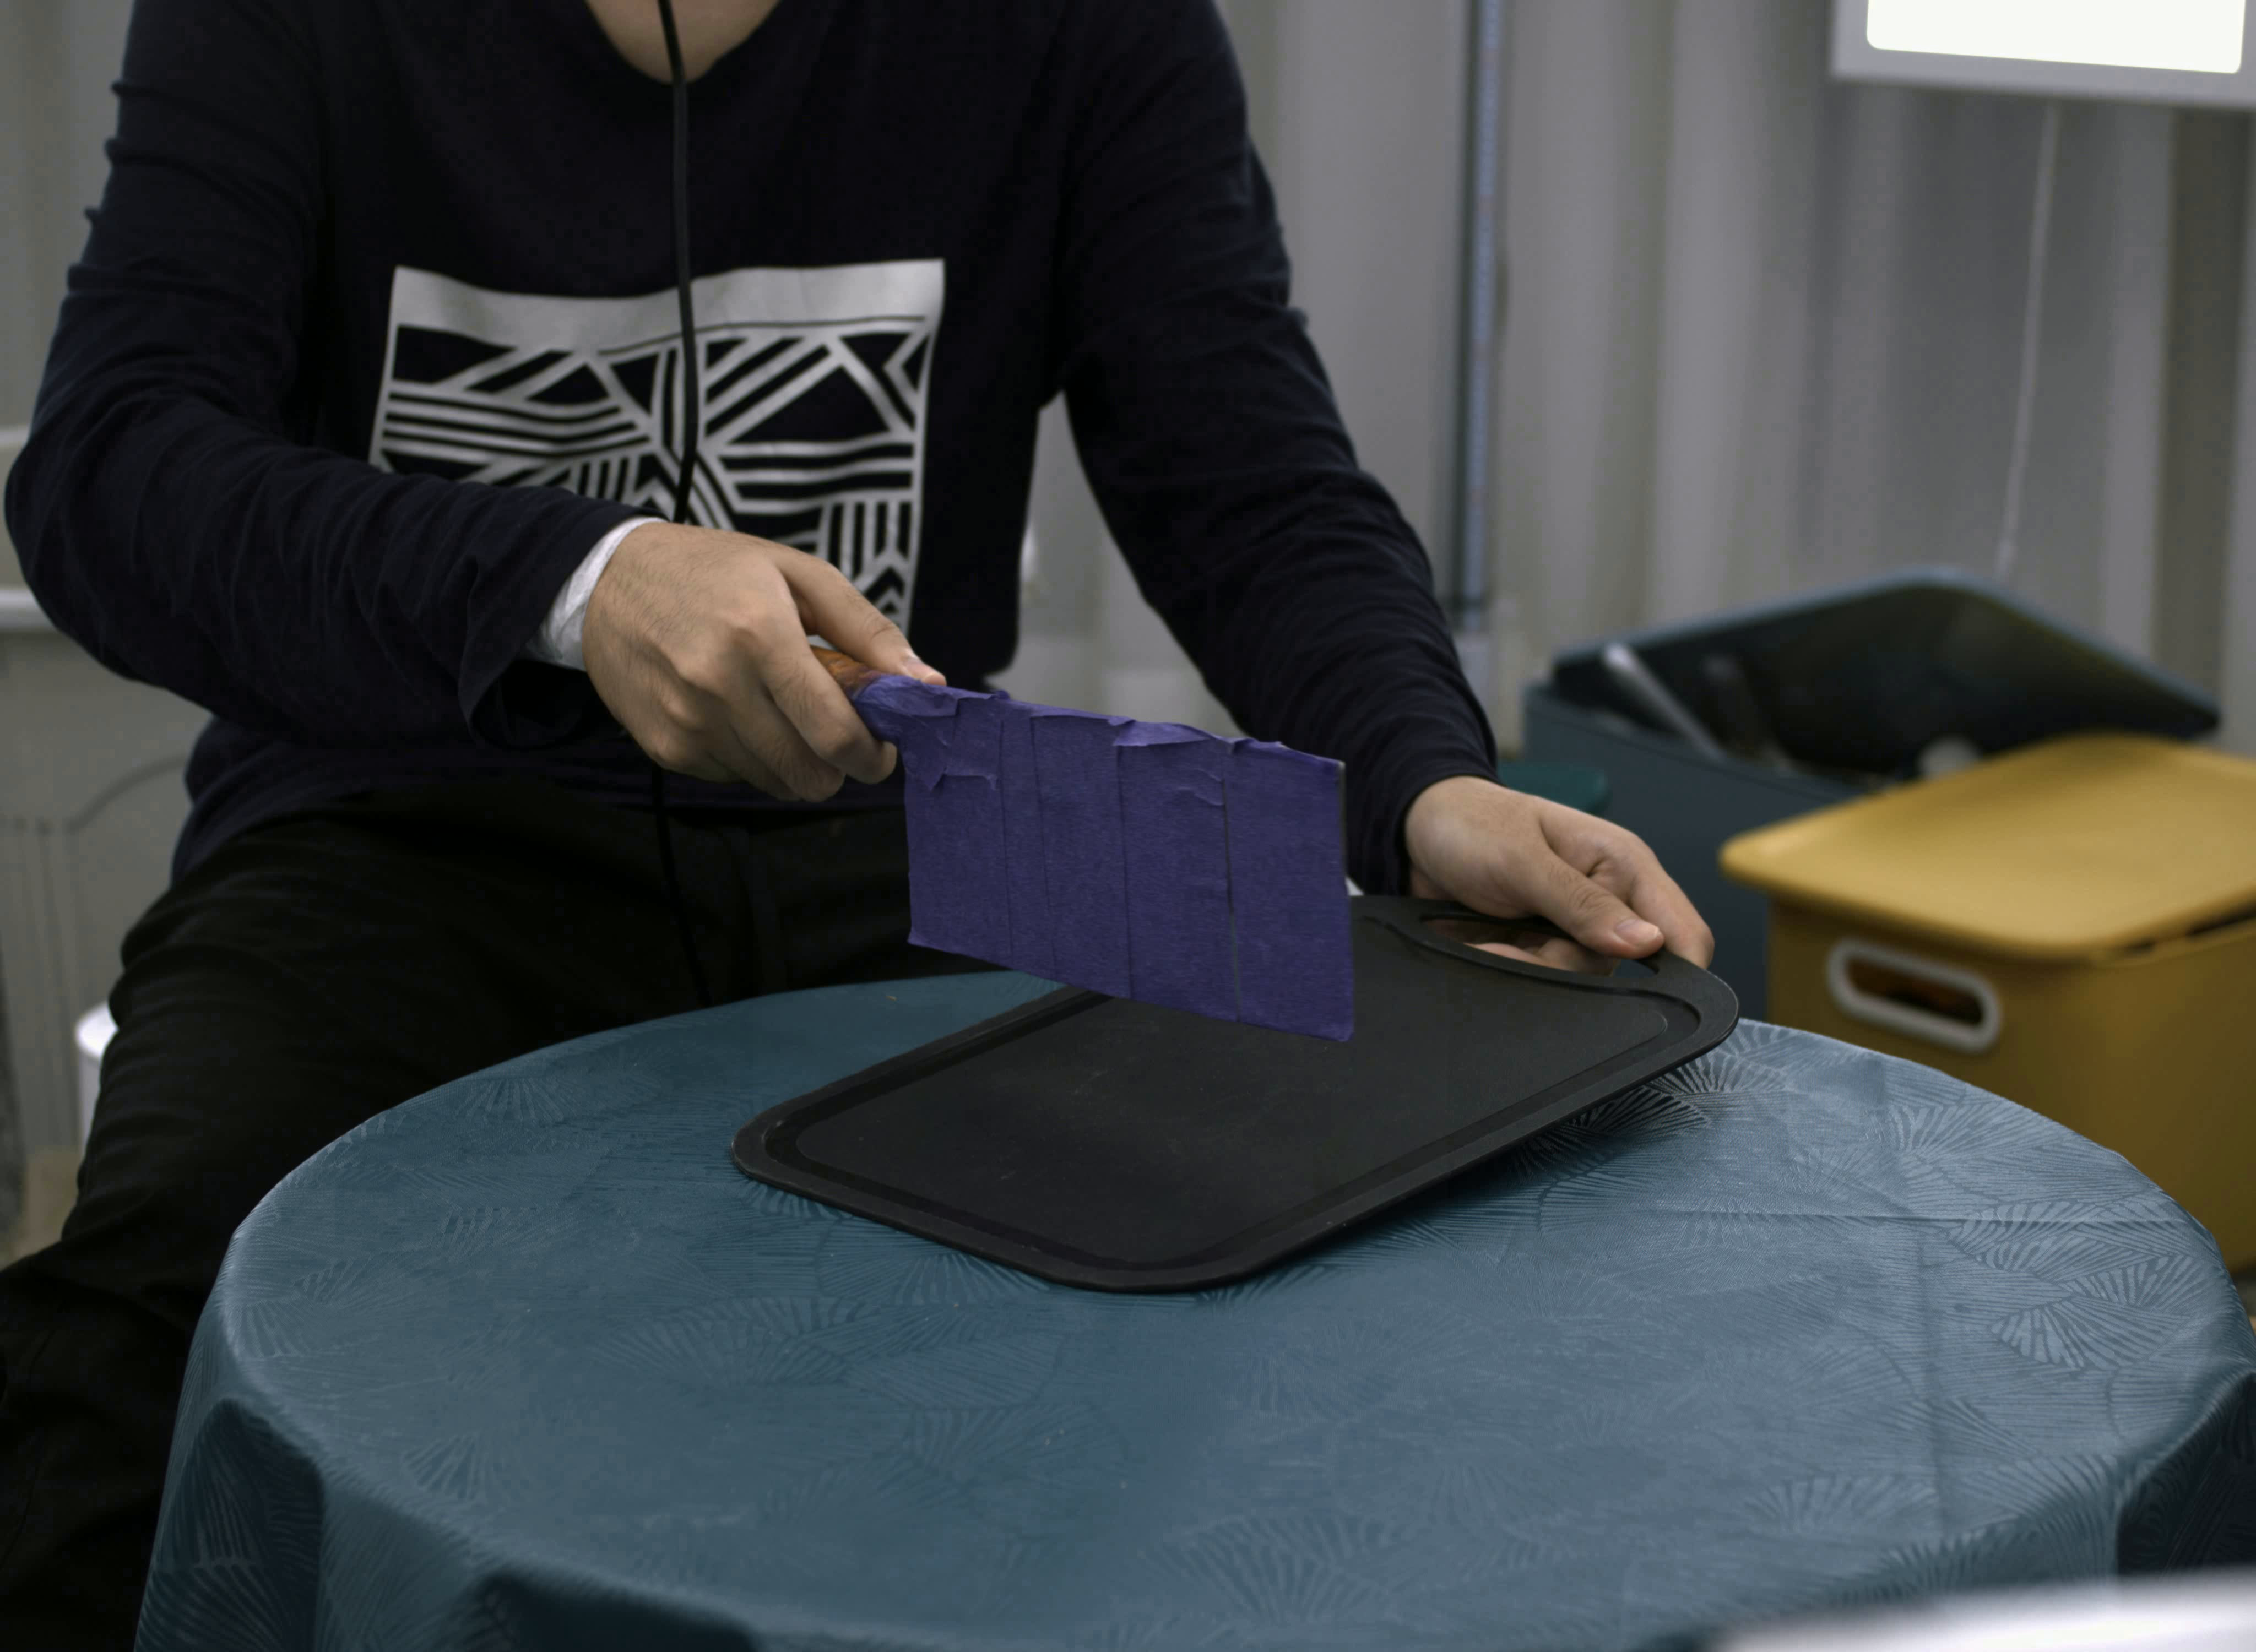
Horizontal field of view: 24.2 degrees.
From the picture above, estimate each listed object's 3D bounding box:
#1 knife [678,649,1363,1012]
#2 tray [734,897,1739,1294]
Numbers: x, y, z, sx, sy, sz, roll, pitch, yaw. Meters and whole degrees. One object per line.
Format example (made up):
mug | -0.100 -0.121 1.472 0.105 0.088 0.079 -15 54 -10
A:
knife | -0.040 0.001 1.684 0.032 0.104 0.311 -11 14 -40
tray | 0.043 0.077 1.695 0.208 0.010 0.326 15 26 42
